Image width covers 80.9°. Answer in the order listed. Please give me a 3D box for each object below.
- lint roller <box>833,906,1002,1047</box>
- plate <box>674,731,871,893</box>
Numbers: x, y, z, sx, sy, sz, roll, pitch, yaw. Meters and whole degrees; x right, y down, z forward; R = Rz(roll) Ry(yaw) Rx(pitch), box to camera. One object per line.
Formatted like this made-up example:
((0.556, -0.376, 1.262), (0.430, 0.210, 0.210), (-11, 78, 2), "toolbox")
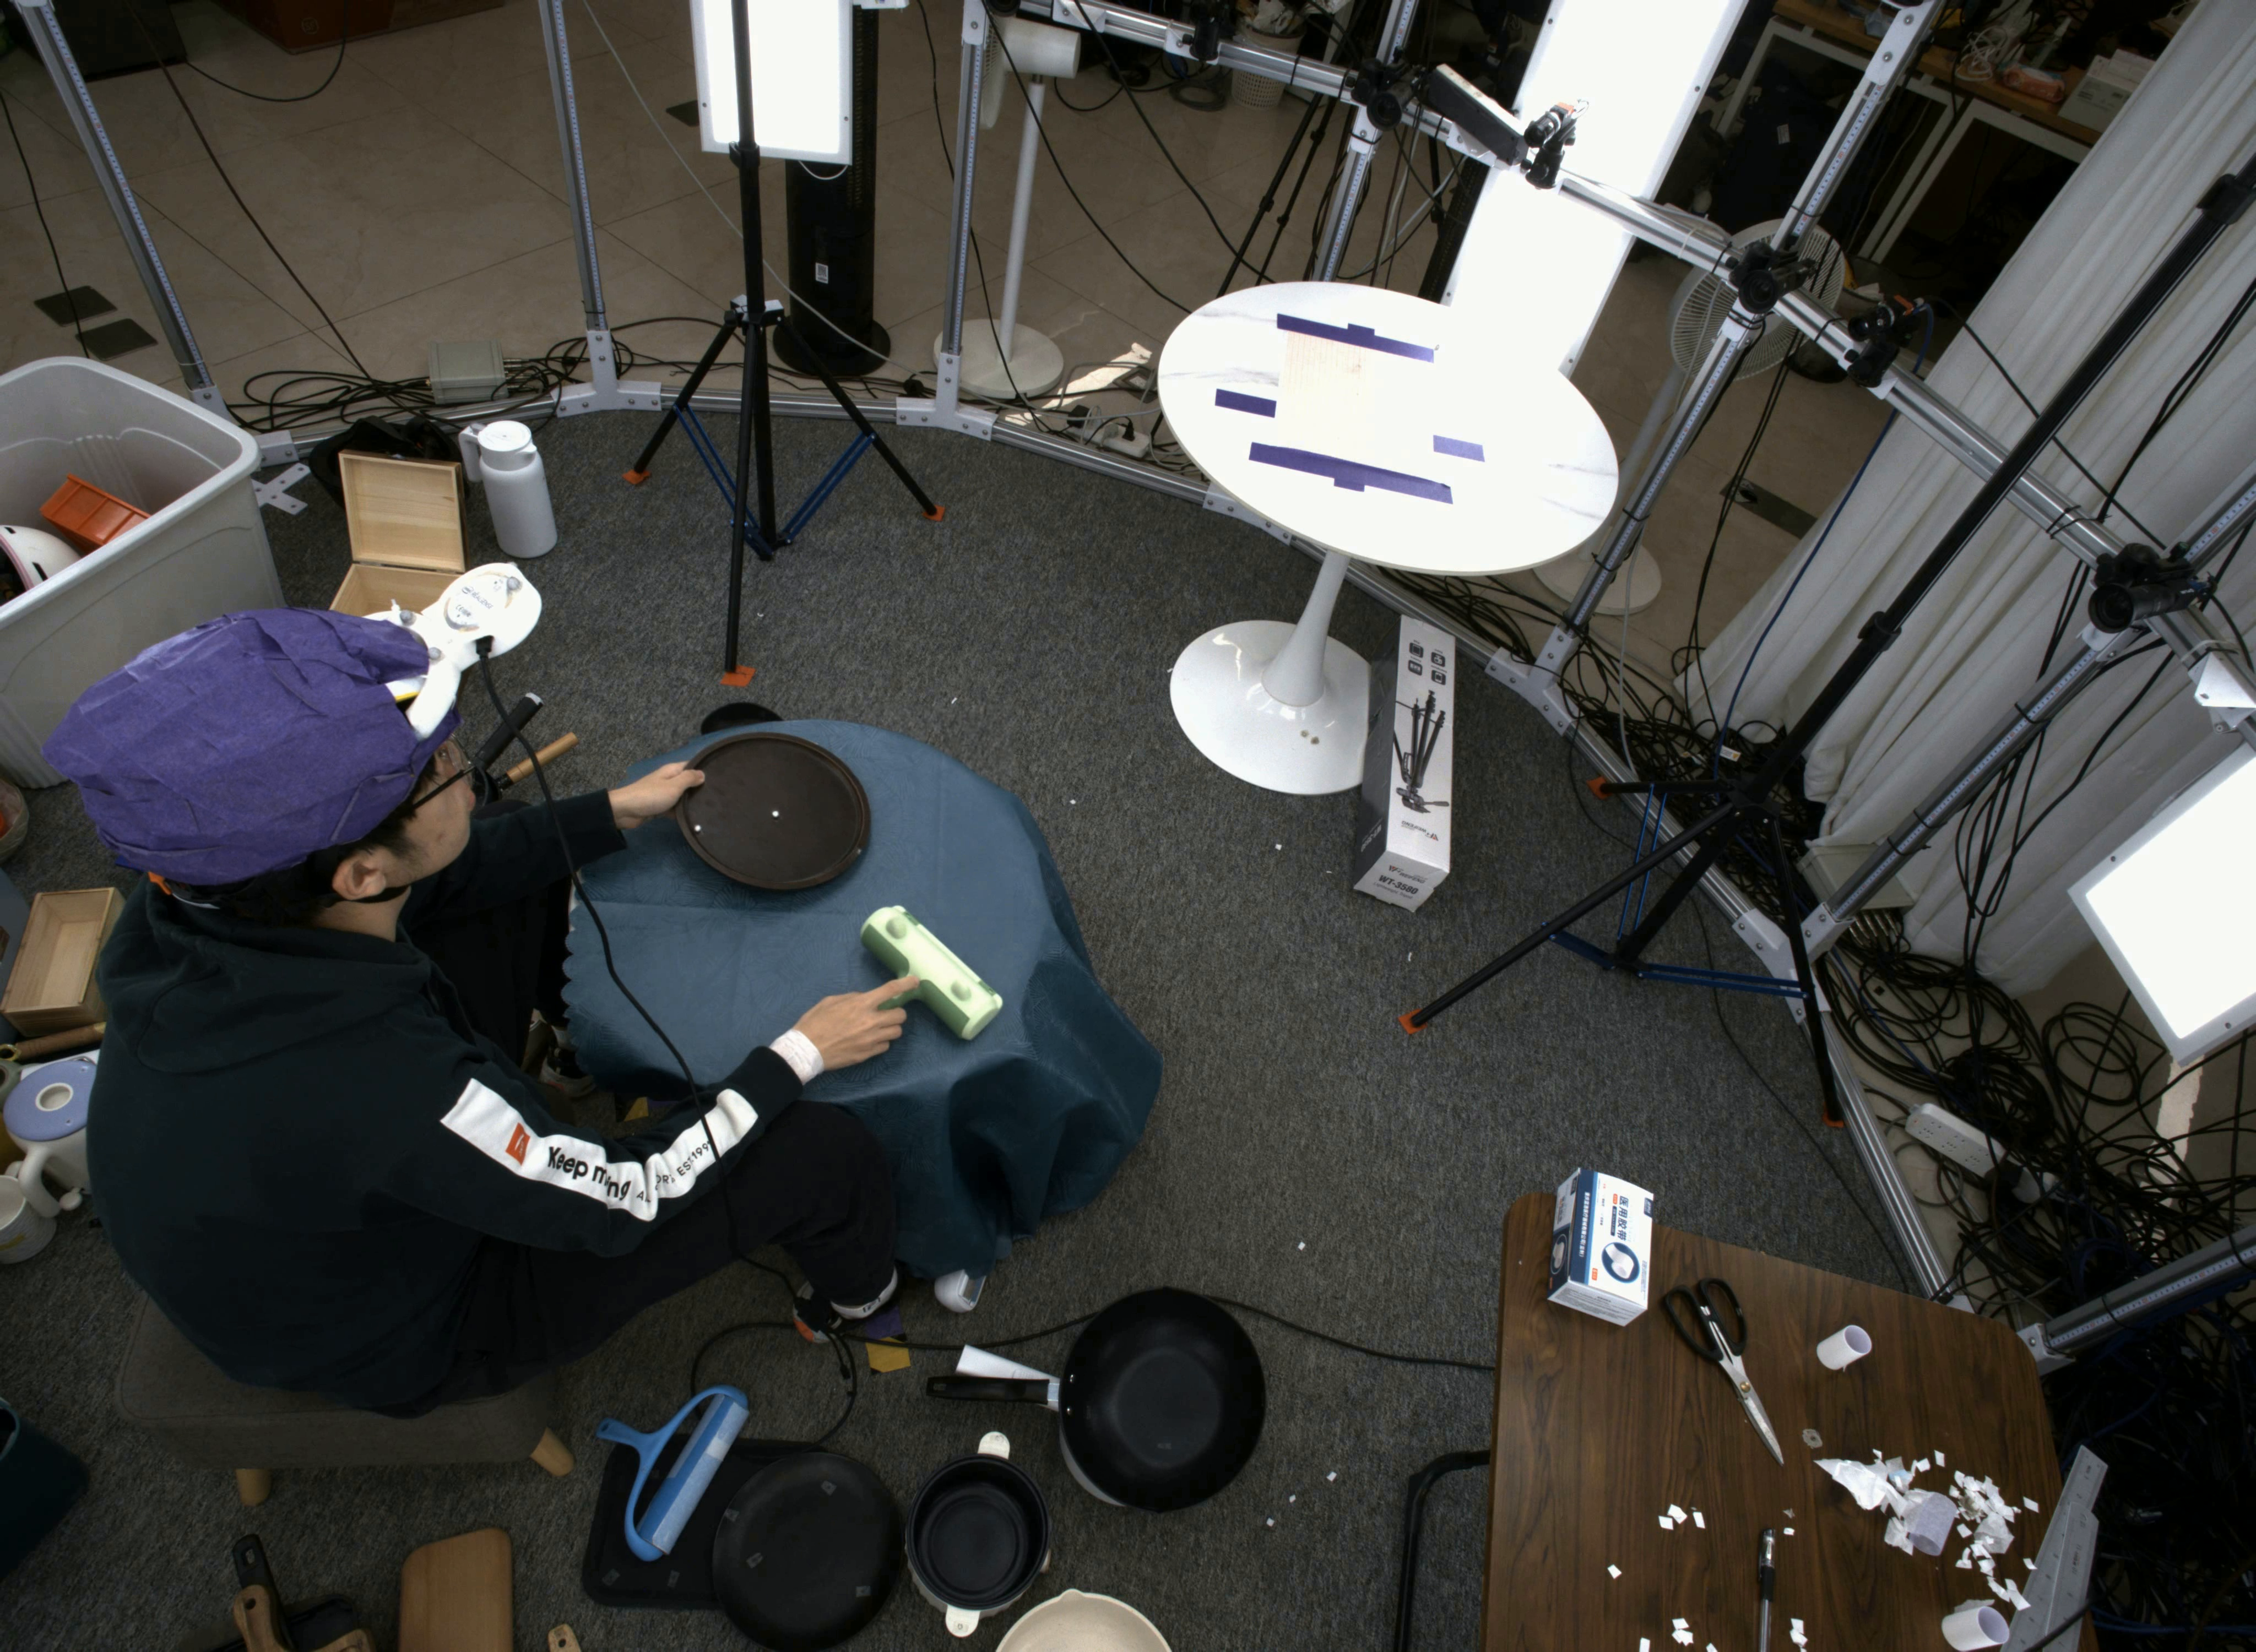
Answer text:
((-0.276, 0.193, 1.556), (0.195, 0.083, 0.184), (41, 44, 15), "lint roller")
((-0.464, -0.021, 1.693), (0.257, 0.029, 0.250), (16, 52, -19), "plate")
